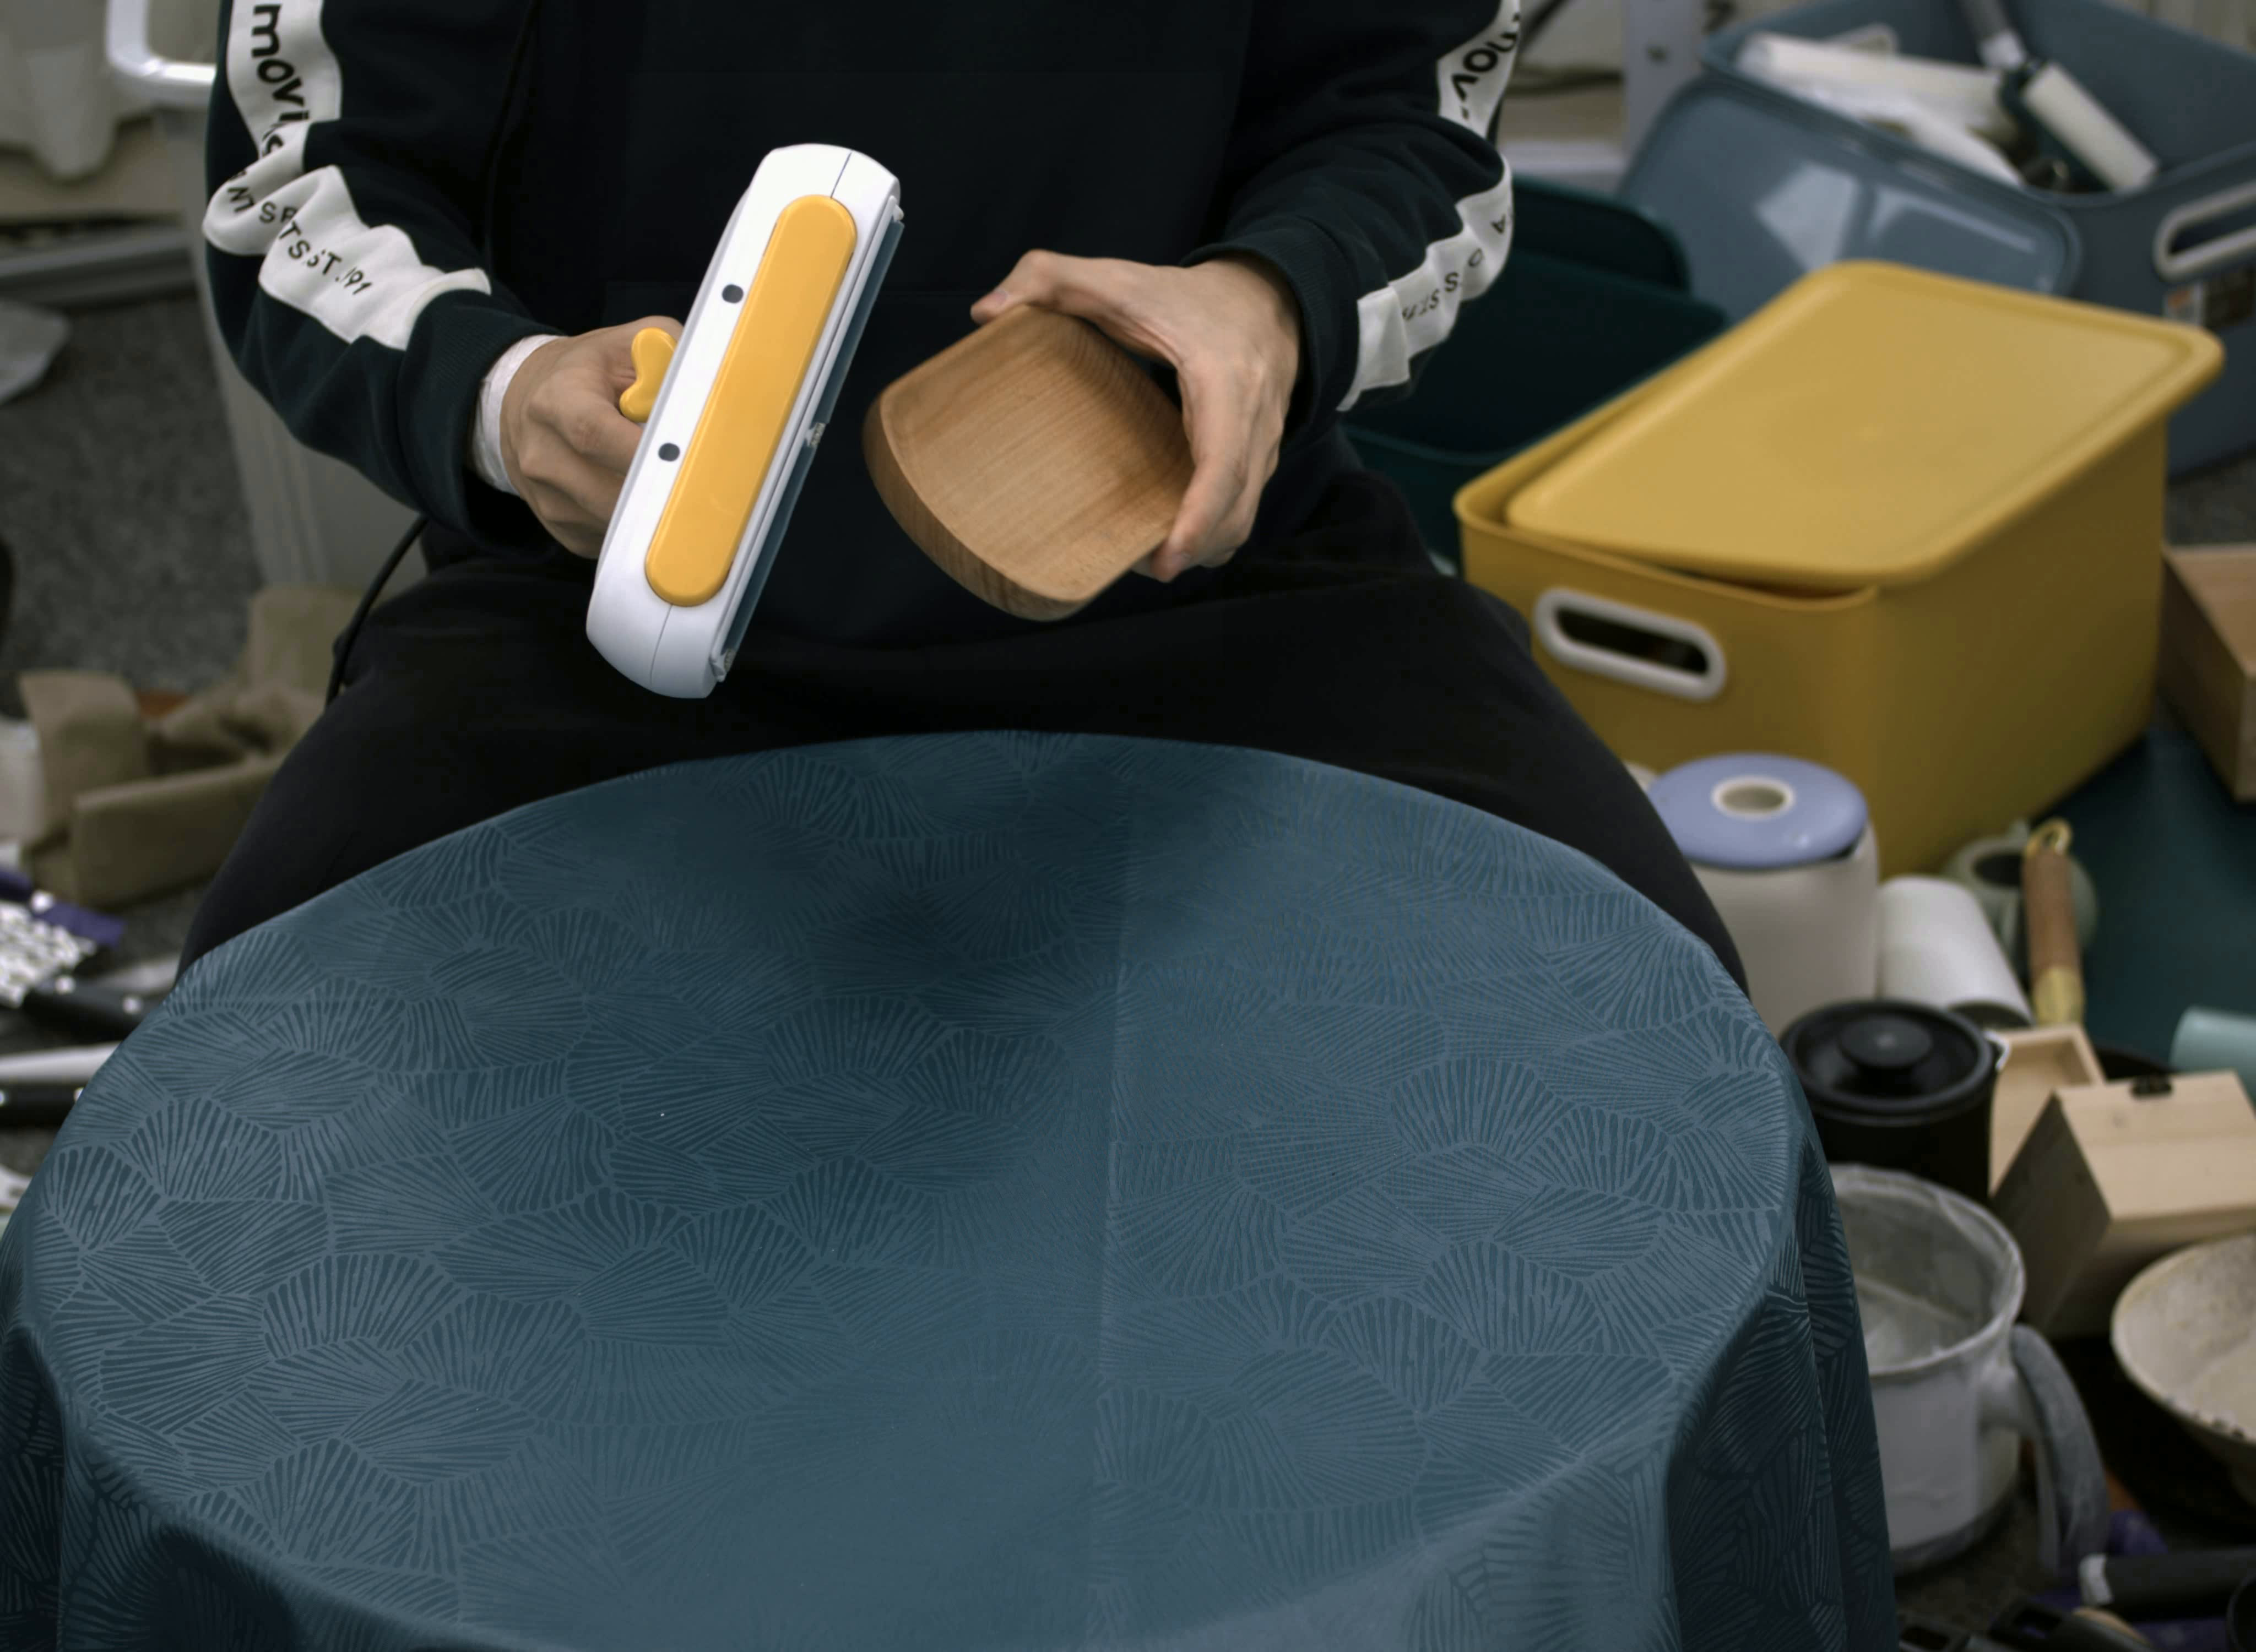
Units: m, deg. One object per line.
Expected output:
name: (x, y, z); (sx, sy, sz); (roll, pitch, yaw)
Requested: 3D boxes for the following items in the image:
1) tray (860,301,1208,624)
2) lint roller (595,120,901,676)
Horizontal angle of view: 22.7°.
tray: (-0.032, -0.128, 1.971); (0.102, 0.020, 0.234); (46, 25, 0)
lint roller: (-0.141, -0.135, 1.935); (0.074, 0.195, 0.190); (17, -13, -6)
